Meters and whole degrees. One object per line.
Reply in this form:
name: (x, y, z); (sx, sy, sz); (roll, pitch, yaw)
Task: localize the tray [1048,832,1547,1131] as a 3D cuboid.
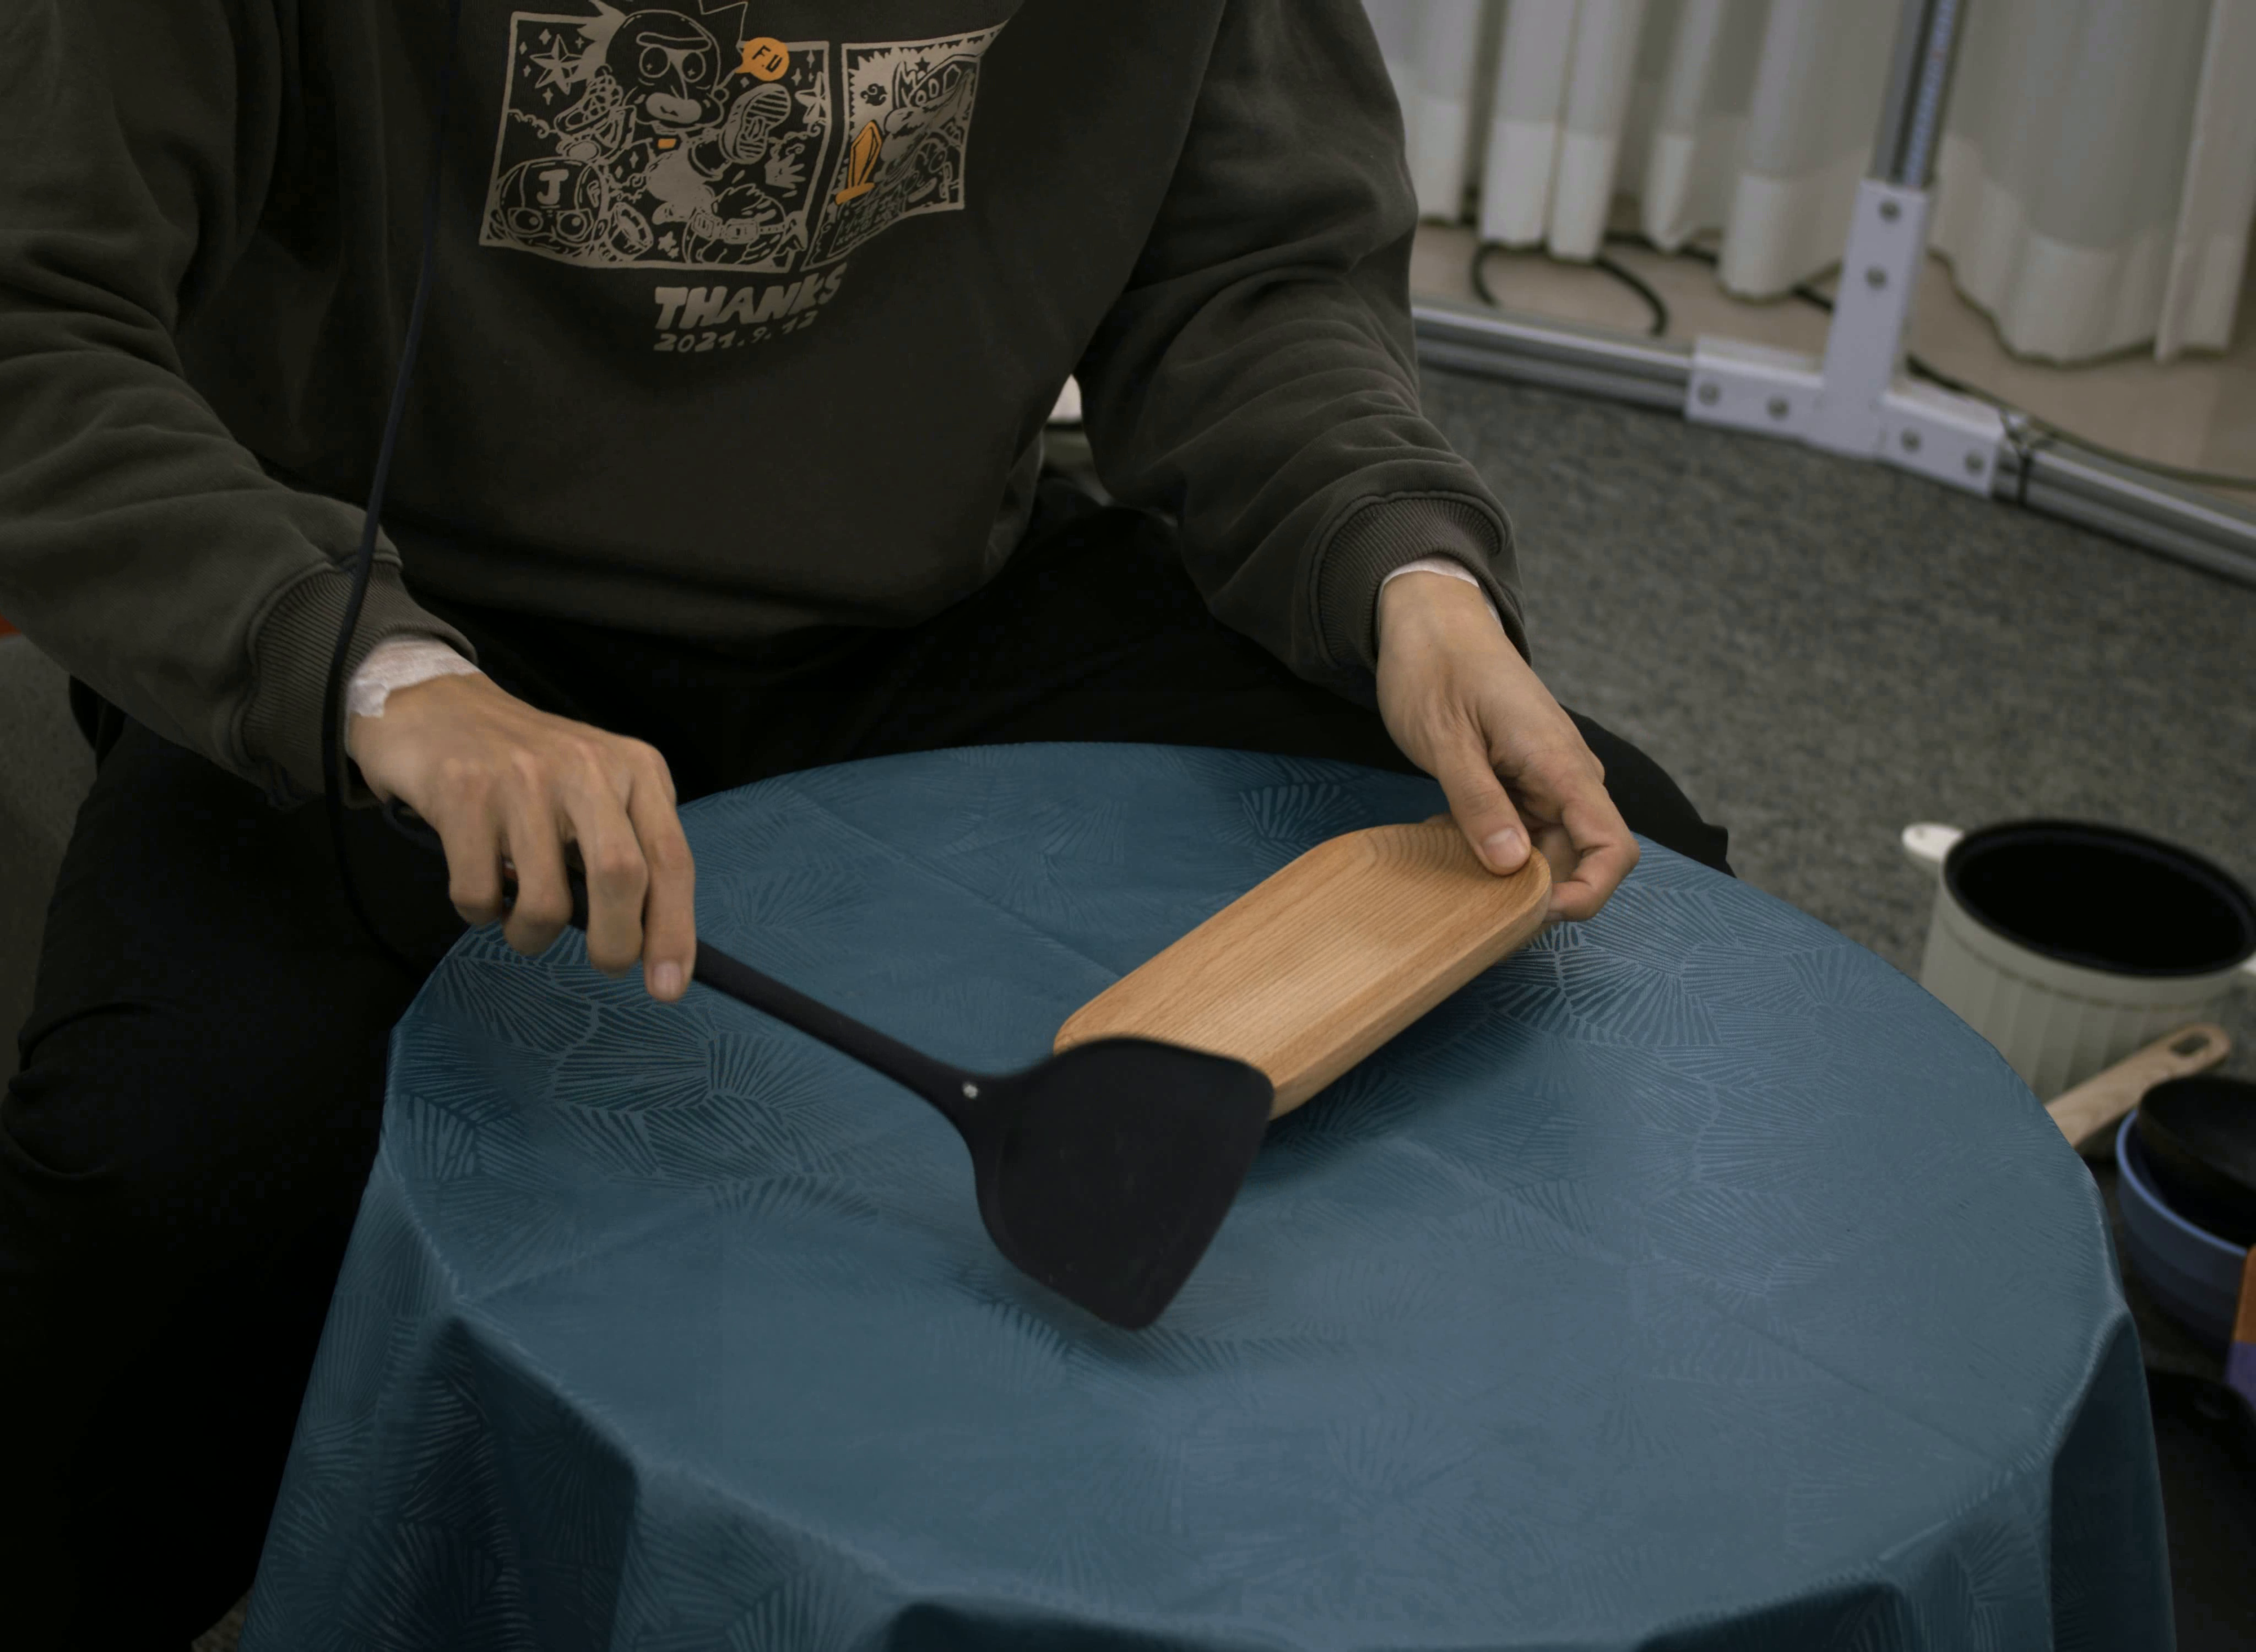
tray: (0.063, 0.056, 1.902); (0.102, 0.020, 0.230); (14, 33, 36)

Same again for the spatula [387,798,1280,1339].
spatula: (-0.109, 0.062, 1.761); (0.327, 0.040, 0.100); (27, 71, 12)
